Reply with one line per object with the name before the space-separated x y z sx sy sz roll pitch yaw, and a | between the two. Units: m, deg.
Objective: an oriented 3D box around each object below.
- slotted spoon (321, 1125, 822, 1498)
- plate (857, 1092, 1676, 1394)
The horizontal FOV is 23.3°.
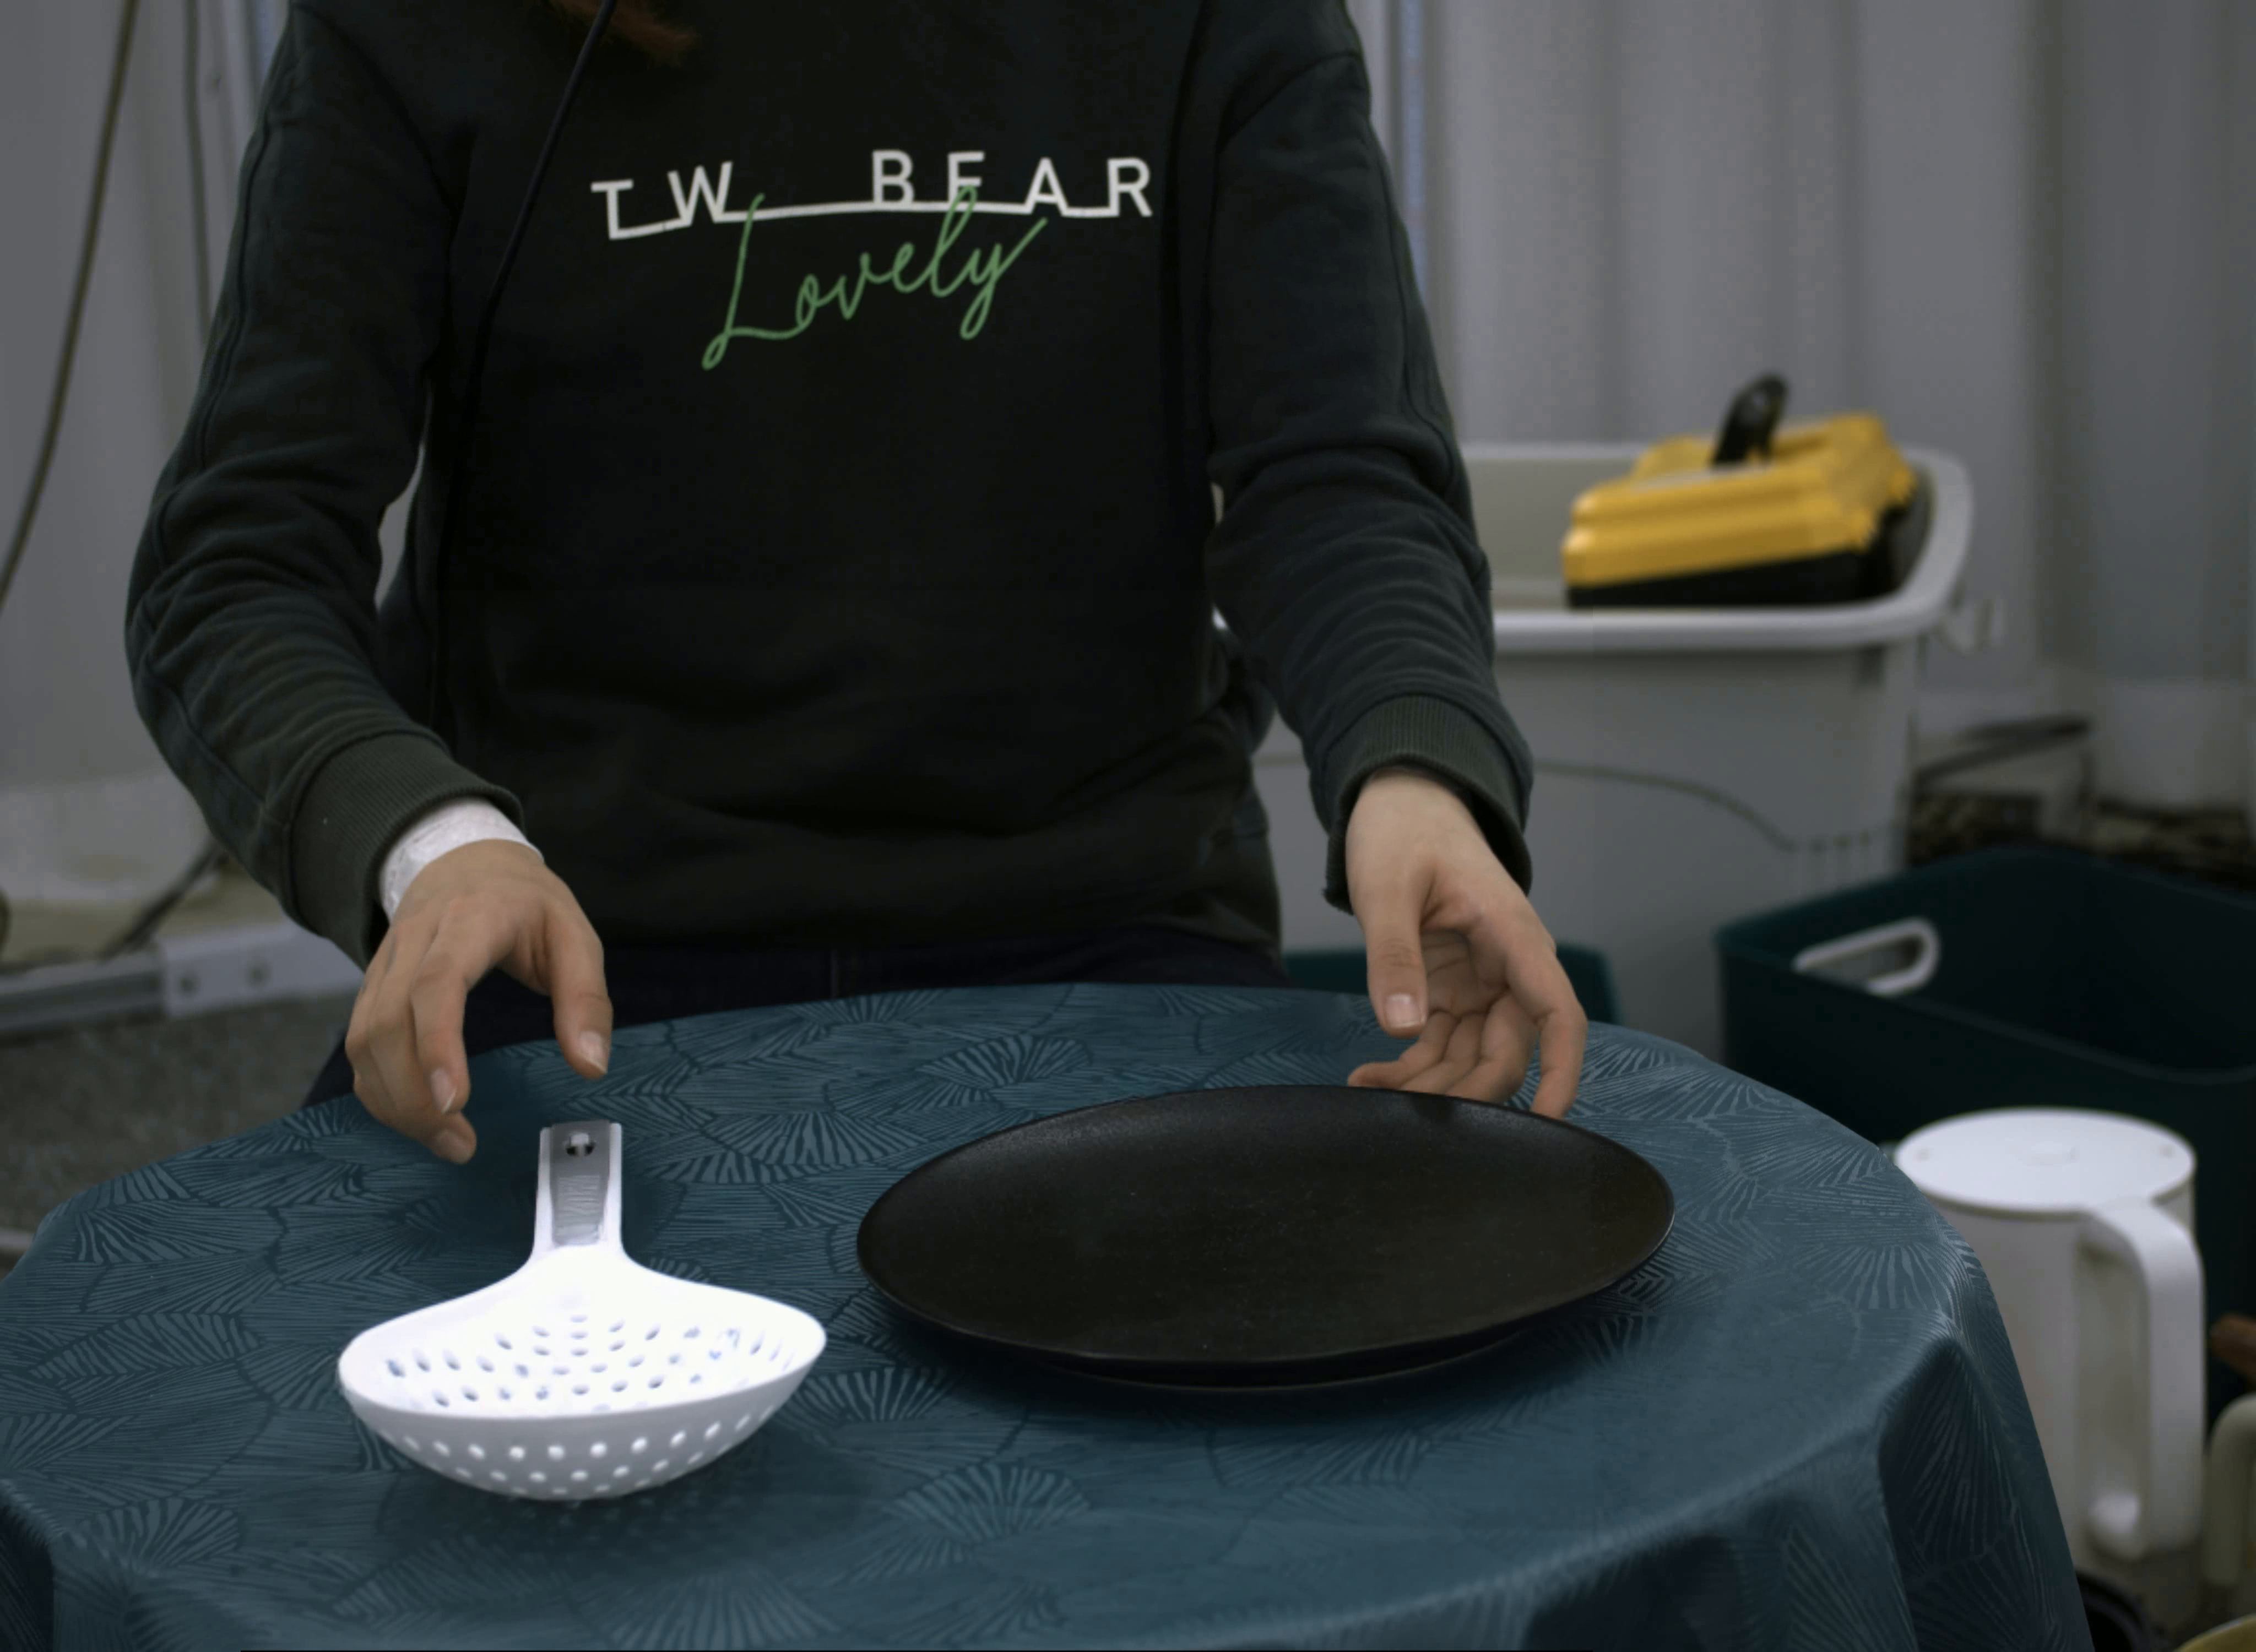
slotted spoon | -0.160 0.132 1.593 0.135 0.045 0.352 -2 14 -5
plate | 0.041 0.125 1.622 0.243 0.023 0.246 -3 15 0
